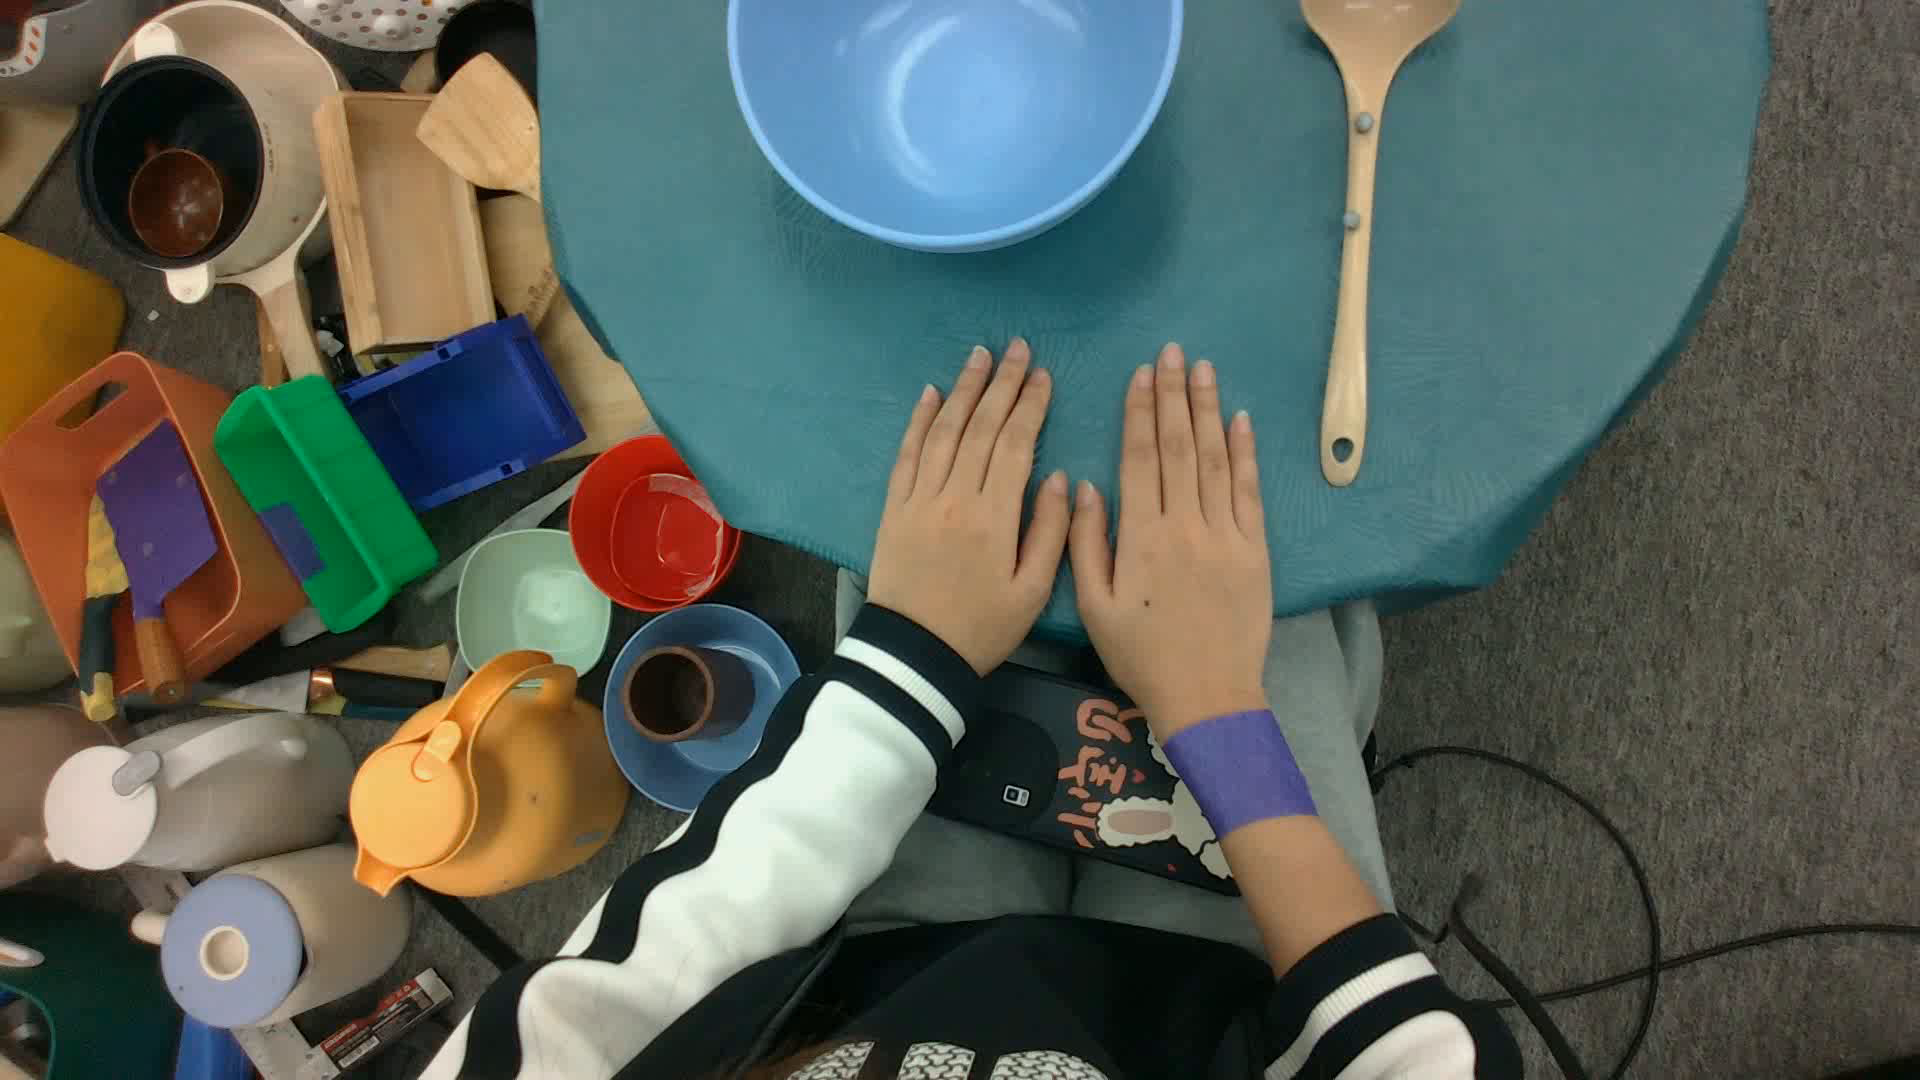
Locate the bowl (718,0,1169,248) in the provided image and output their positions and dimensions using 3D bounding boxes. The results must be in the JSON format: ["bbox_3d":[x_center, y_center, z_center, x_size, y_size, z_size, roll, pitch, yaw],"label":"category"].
[{"bbox_3d":[-0.005,-0.221,0.641,0.196,0.095,0.196,0,85,4],"label":"bowl"}]

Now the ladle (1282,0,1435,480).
[{"bbox_3d":[0.180,-0.158,0.623,0.072,0.073,0.254,2,85,8],"label":"ladle"}]
